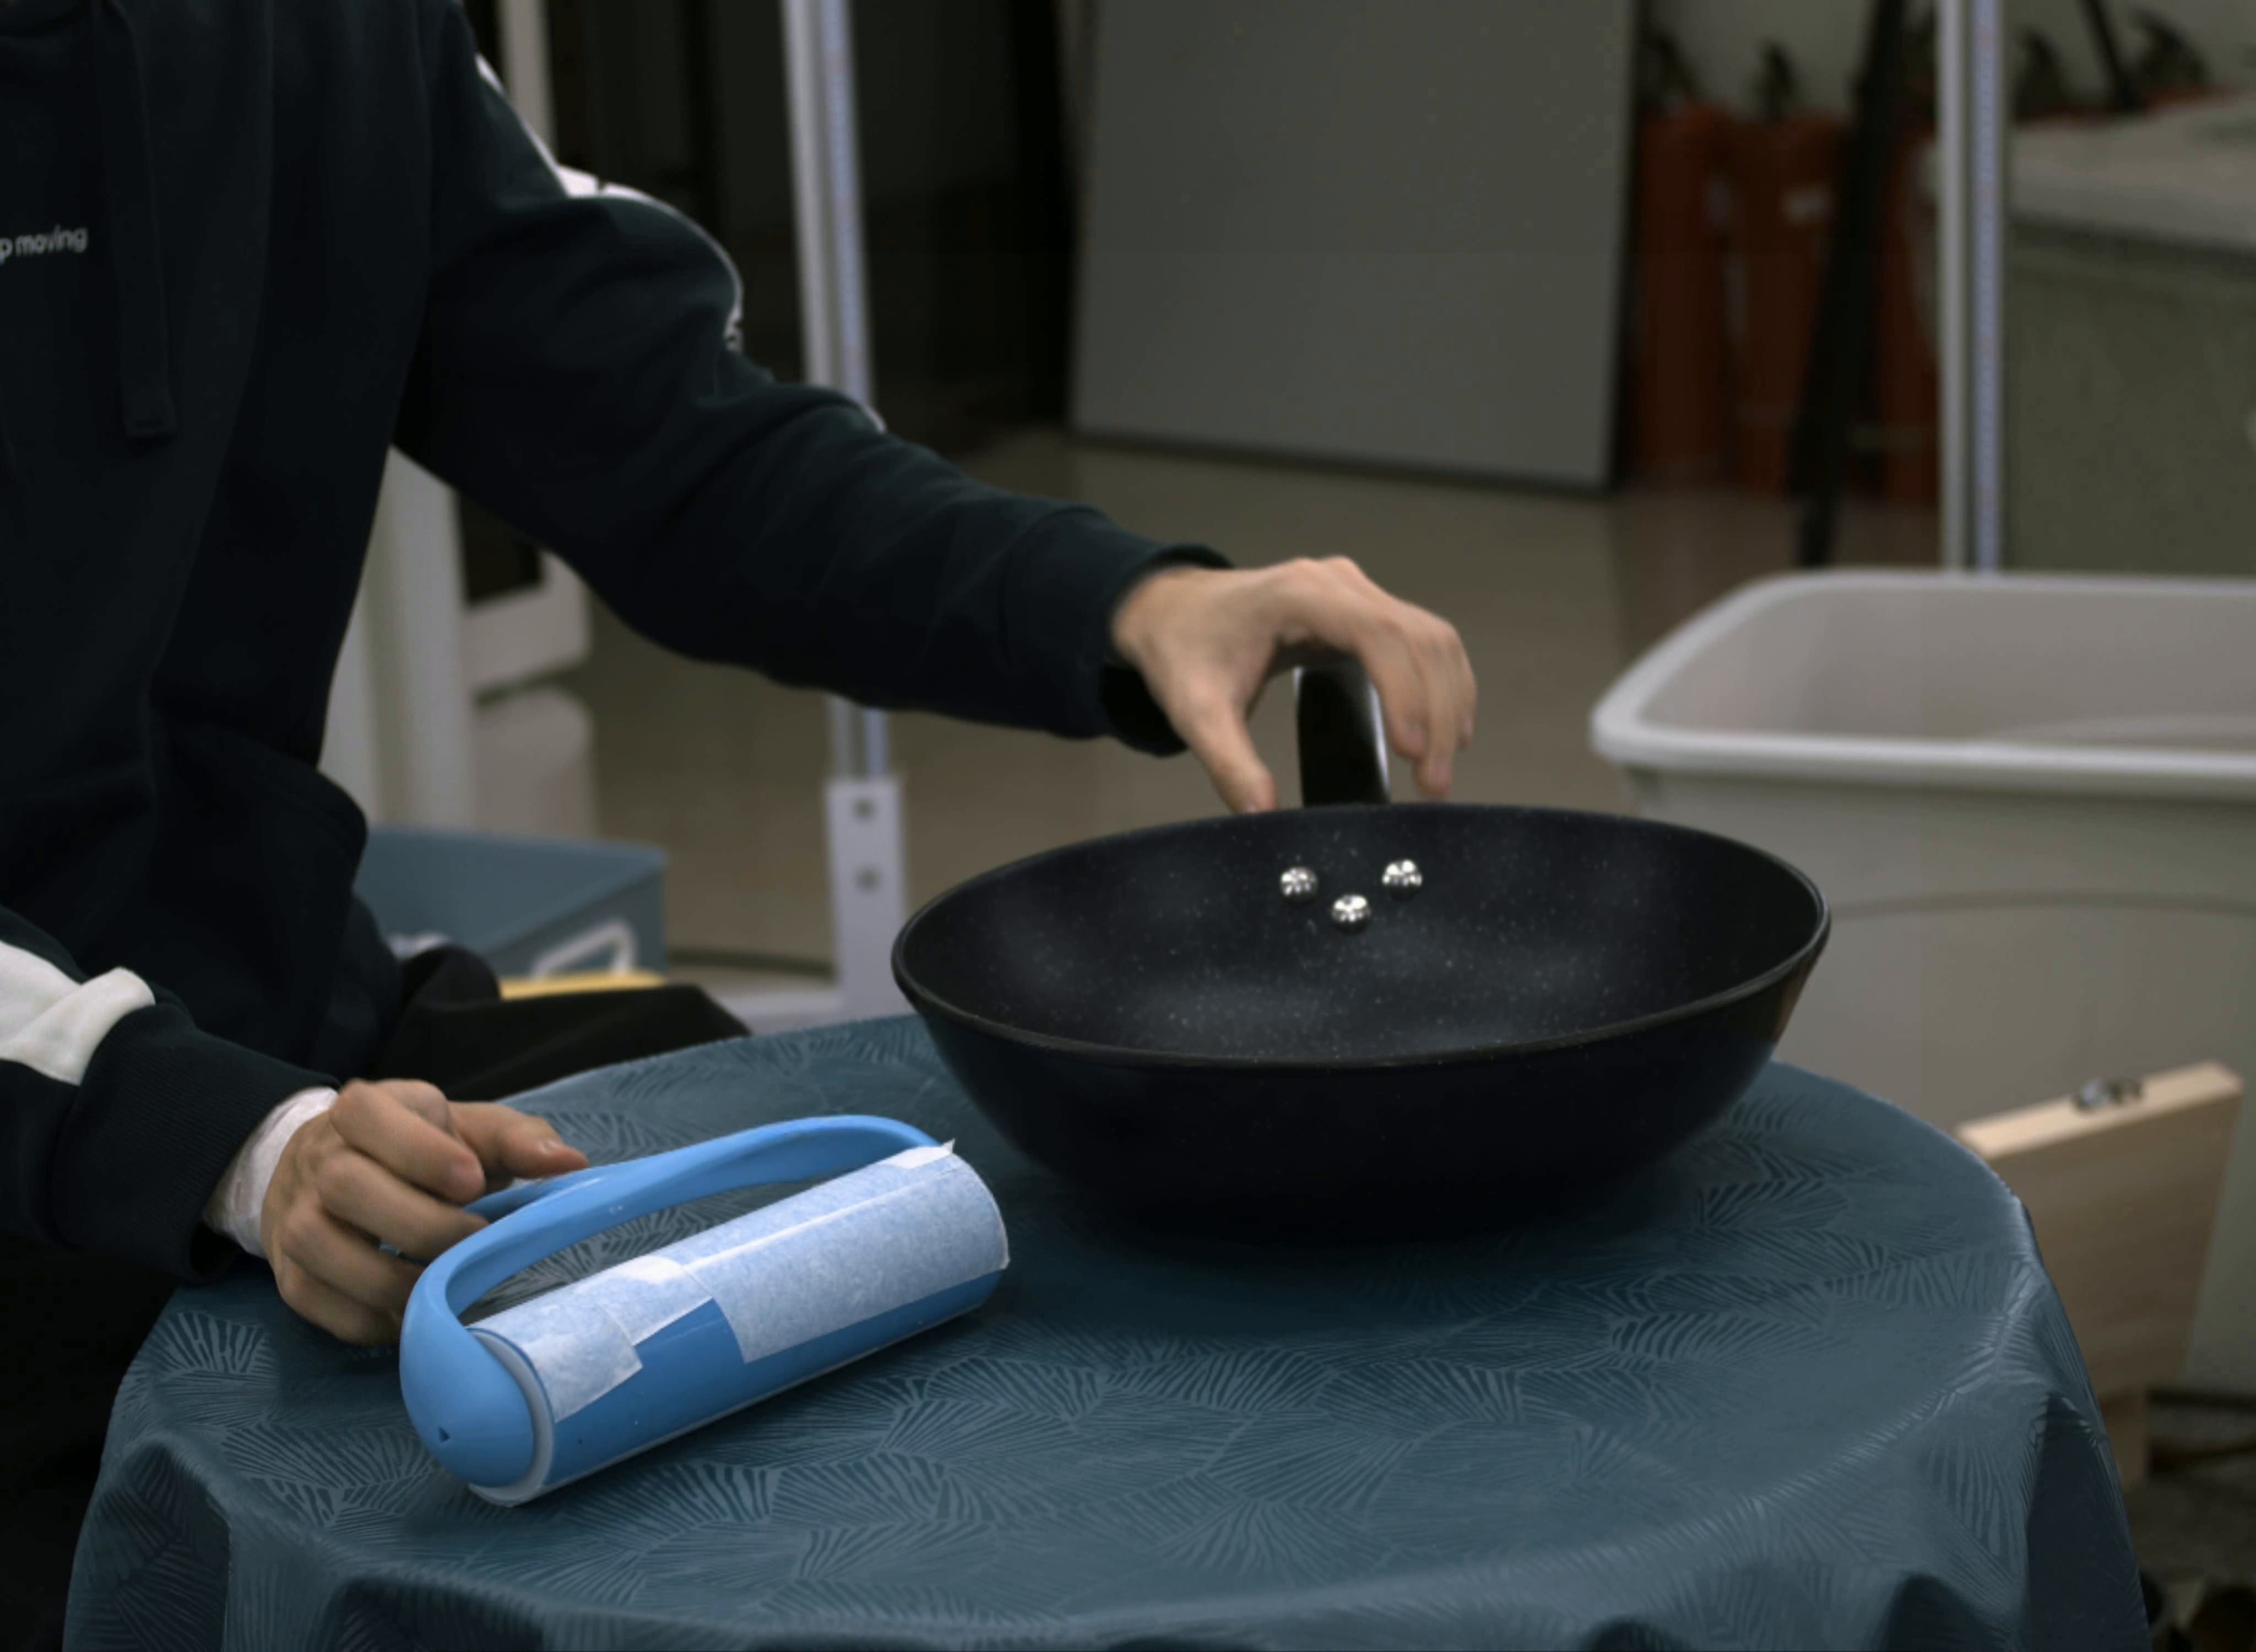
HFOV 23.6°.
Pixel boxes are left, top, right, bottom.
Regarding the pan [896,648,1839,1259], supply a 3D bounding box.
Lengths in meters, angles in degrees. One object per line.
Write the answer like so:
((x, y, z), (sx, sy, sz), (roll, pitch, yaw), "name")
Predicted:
((0.079, 0.044, 1.840), (0.306, 0.113, 0.477), (-2, 14, 1), "pan")

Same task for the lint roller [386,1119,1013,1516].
((-0.161, 0.140, 1.629), (0.181, 0.068, 0.225), (7, 19, 37), "lint roller")
